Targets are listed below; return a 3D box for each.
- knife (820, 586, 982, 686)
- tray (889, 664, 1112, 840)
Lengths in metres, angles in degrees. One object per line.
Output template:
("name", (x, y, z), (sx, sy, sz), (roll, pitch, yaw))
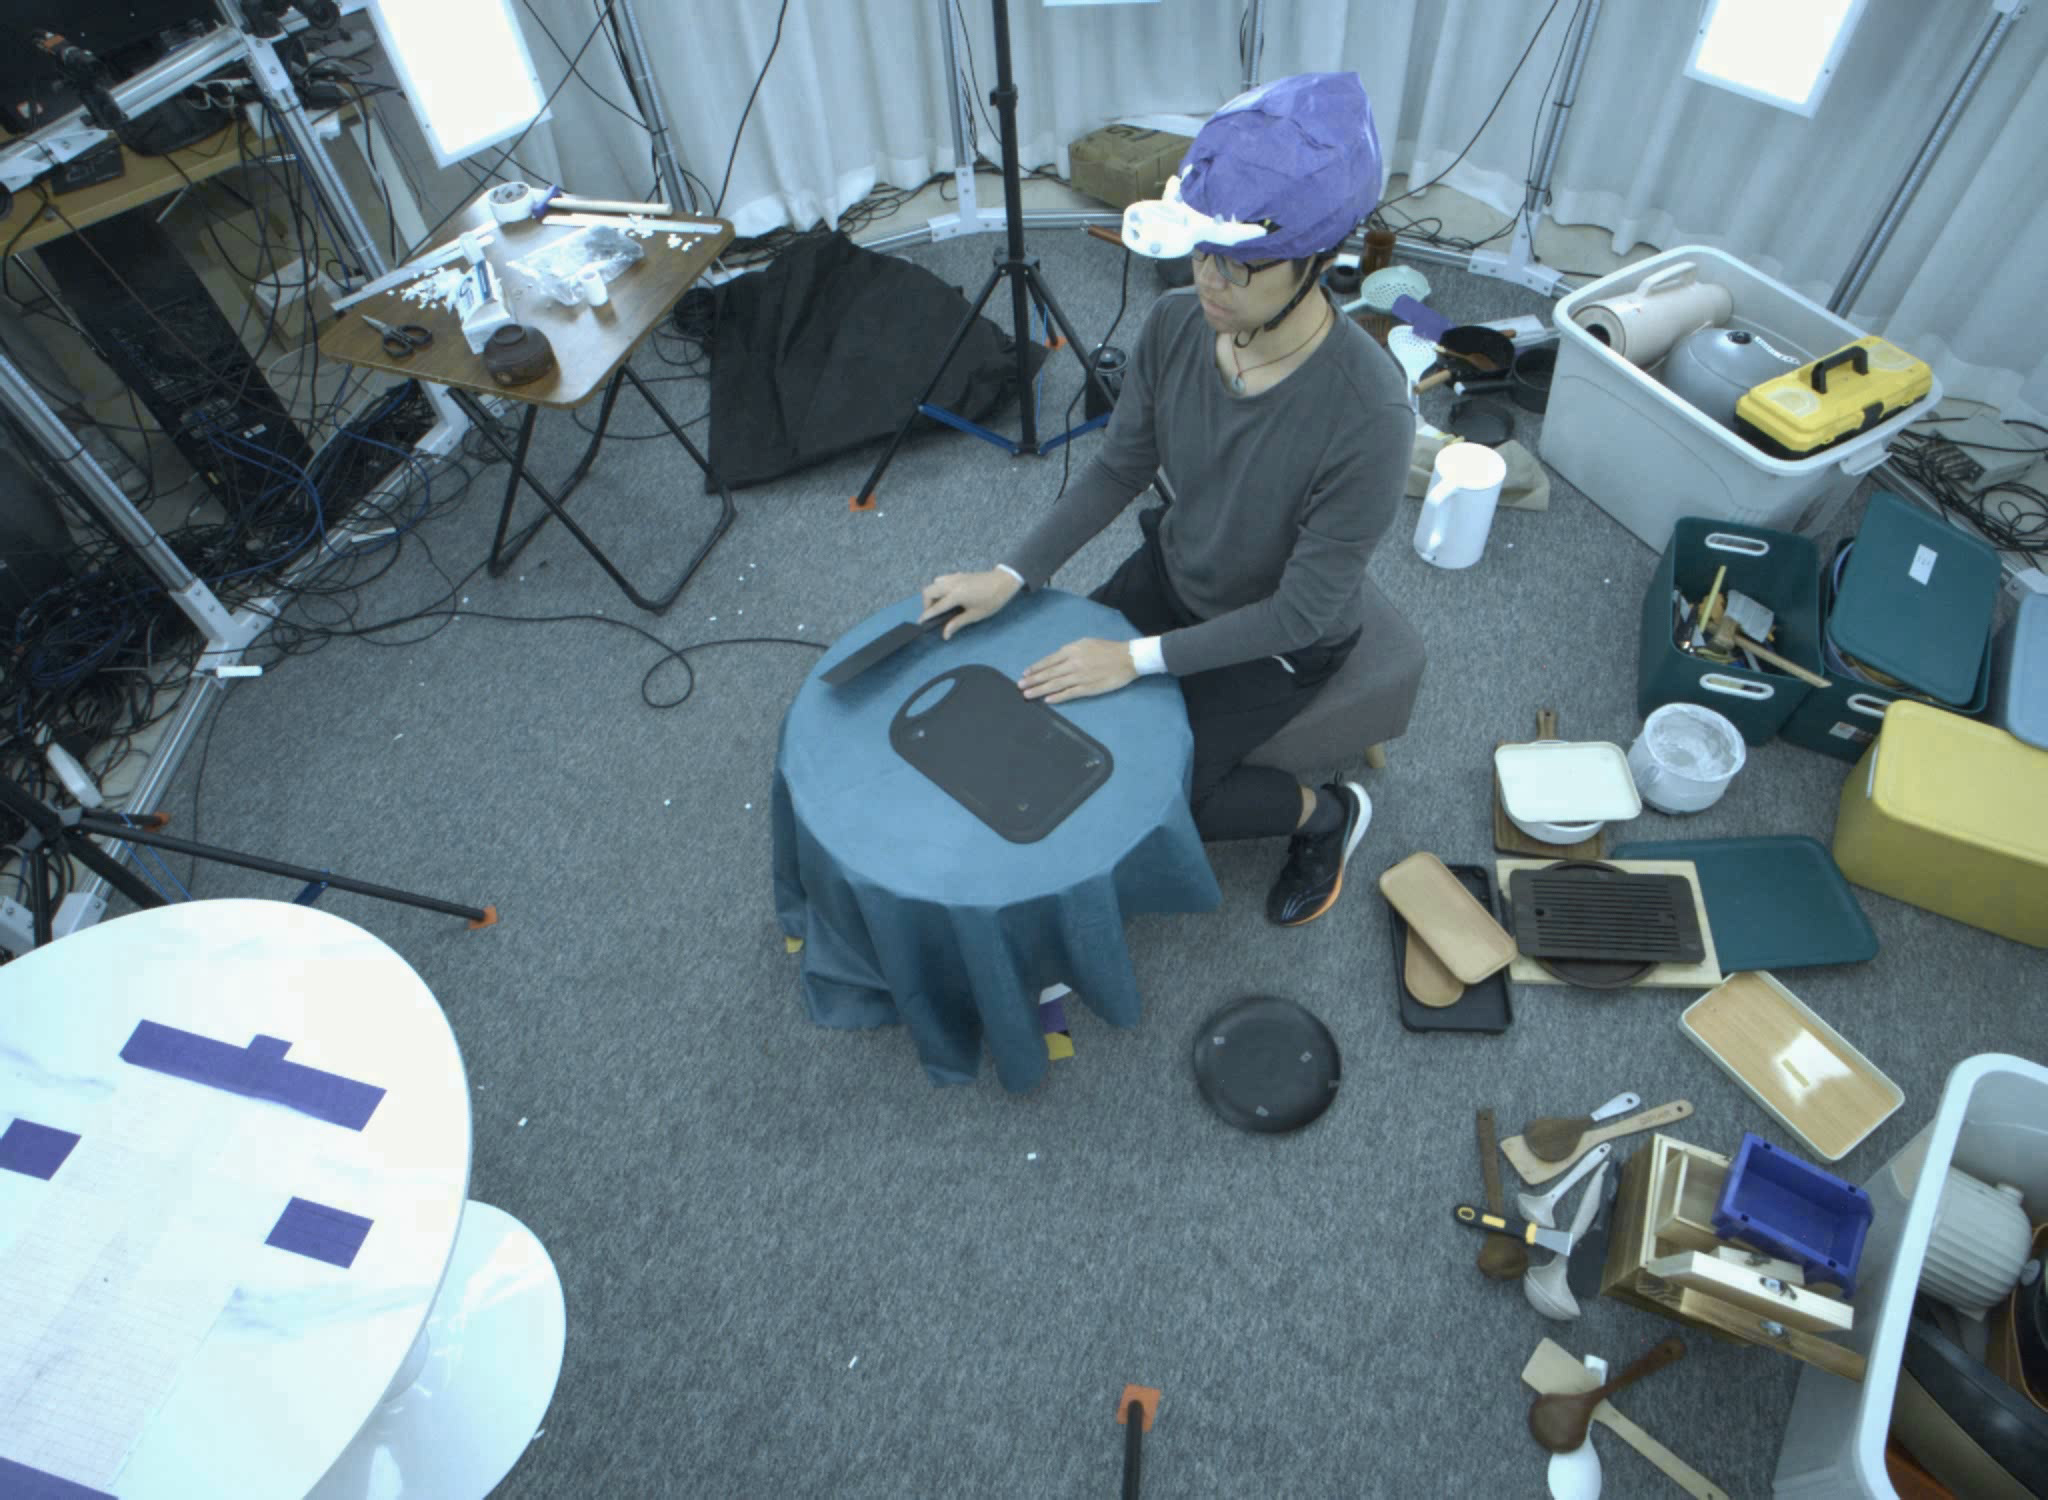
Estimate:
("knife", (-0.183, -0.179, 1.889), (0.305, 0.021, 0.079), (-34, 40, -28))
("tray", (-0.044, -0.009, 1.799), (0.319, 0.010, 0.212), (38, 63, 25))
